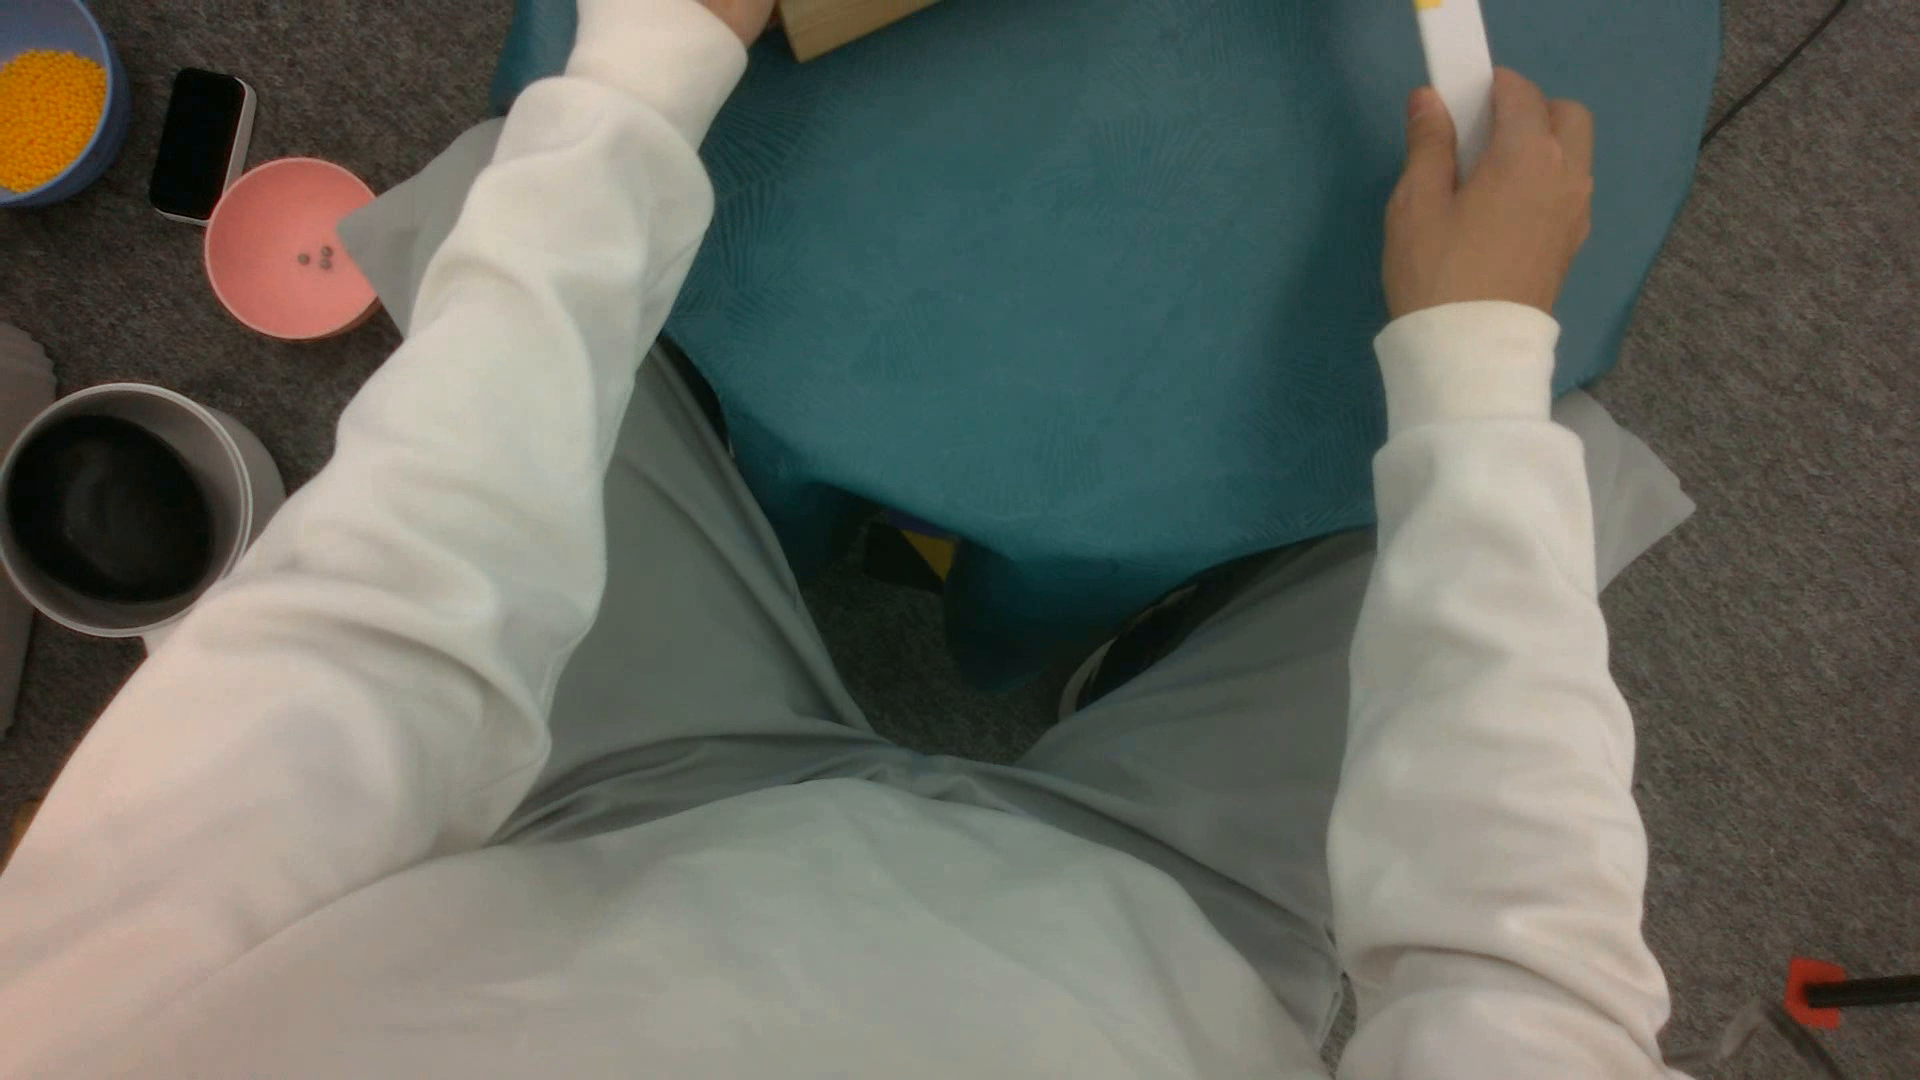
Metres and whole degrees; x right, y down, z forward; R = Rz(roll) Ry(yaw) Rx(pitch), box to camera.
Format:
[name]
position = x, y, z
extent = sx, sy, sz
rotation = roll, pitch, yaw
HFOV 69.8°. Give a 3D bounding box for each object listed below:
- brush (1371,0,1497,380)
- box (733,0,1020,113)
[brush]
position = 0.209, -0.205, 0.637
extent = 0.068, 0.056, 0.266
rotation = -16, 112, 0
[box]
position = -0.015, -0.305, 0.647
extent = 0.211, 0.080, 0.107
rotation = -26, 88, 2
